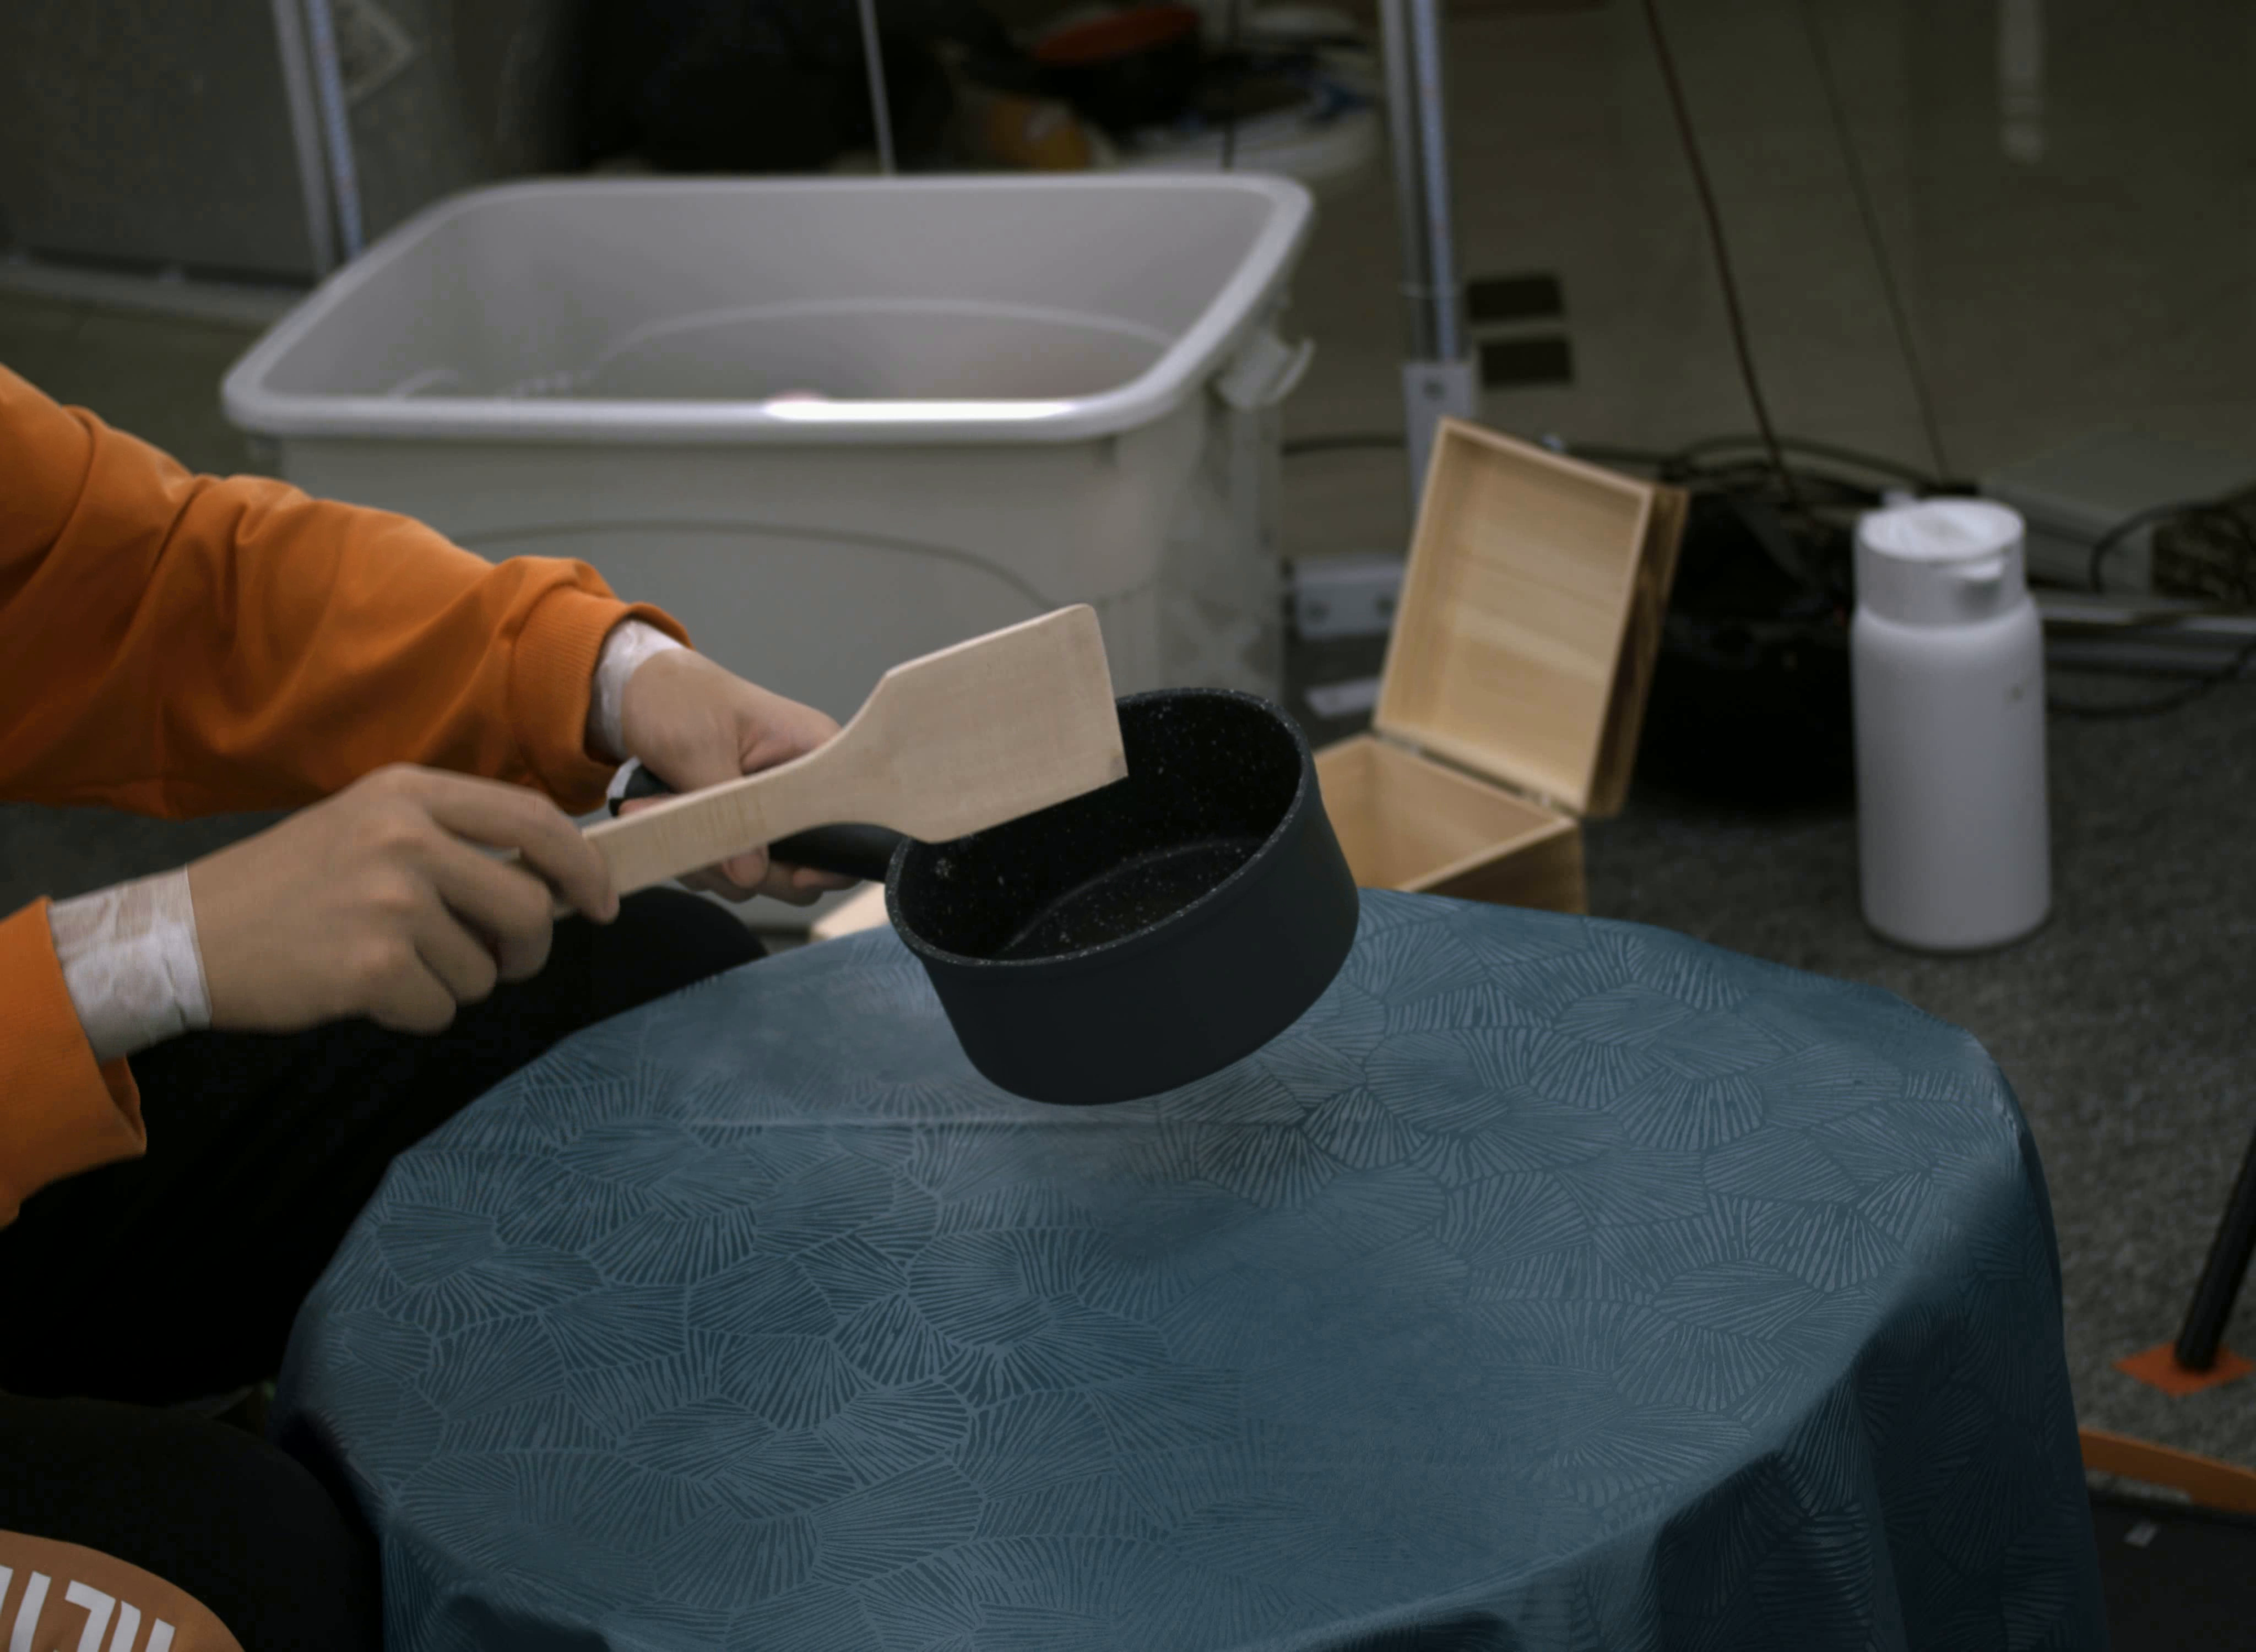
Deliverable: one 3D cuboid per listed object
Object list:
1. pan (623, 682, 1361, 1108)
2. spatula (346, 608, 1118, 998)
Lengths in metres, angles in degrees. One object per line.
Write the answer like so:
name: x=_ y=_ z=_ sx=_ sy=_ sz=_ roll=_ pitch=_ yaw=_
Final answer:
pan: x=-0.061 y=0.018 z=2.197 sx=0.327 sy=0.088 sz=0.170 roll=8 pitch=43 yaw=39
spatula: x=-0.137 y=-0.001 z=1.982 sx=0.291 sy=0.073 sz=0.010 roll=-21 pitch=31 yaw=-17
